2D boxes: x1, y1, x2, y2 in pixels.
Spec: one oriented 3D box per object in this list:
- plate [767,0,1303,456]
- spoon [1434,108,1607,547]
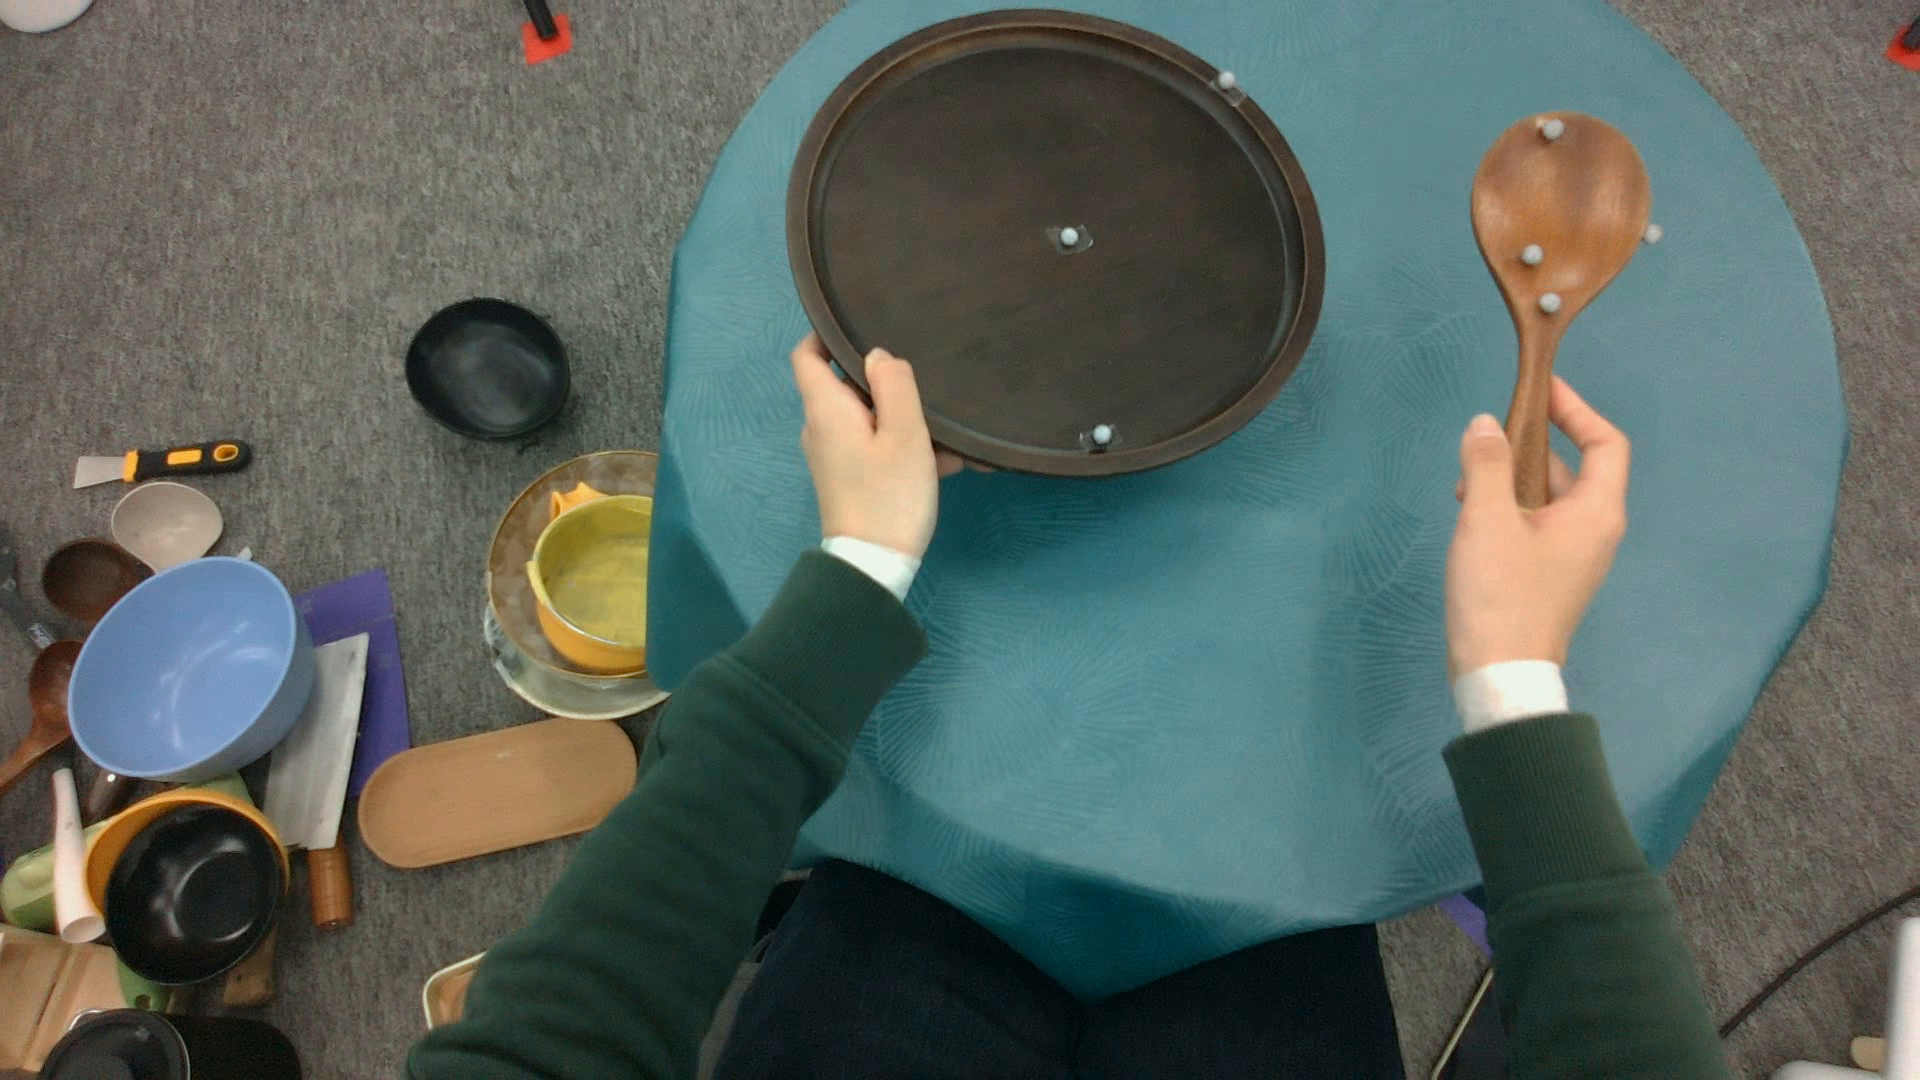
[{"bbox_3d":[0.037,-0.152,0.651,0.255,0.029,0.255,3,66,-7],"label":"plate"},{"bbox_3d":[0.237,-0.097,0.599,0.075,0.017,0.216,11,70,9],"label":"spoon"}]
